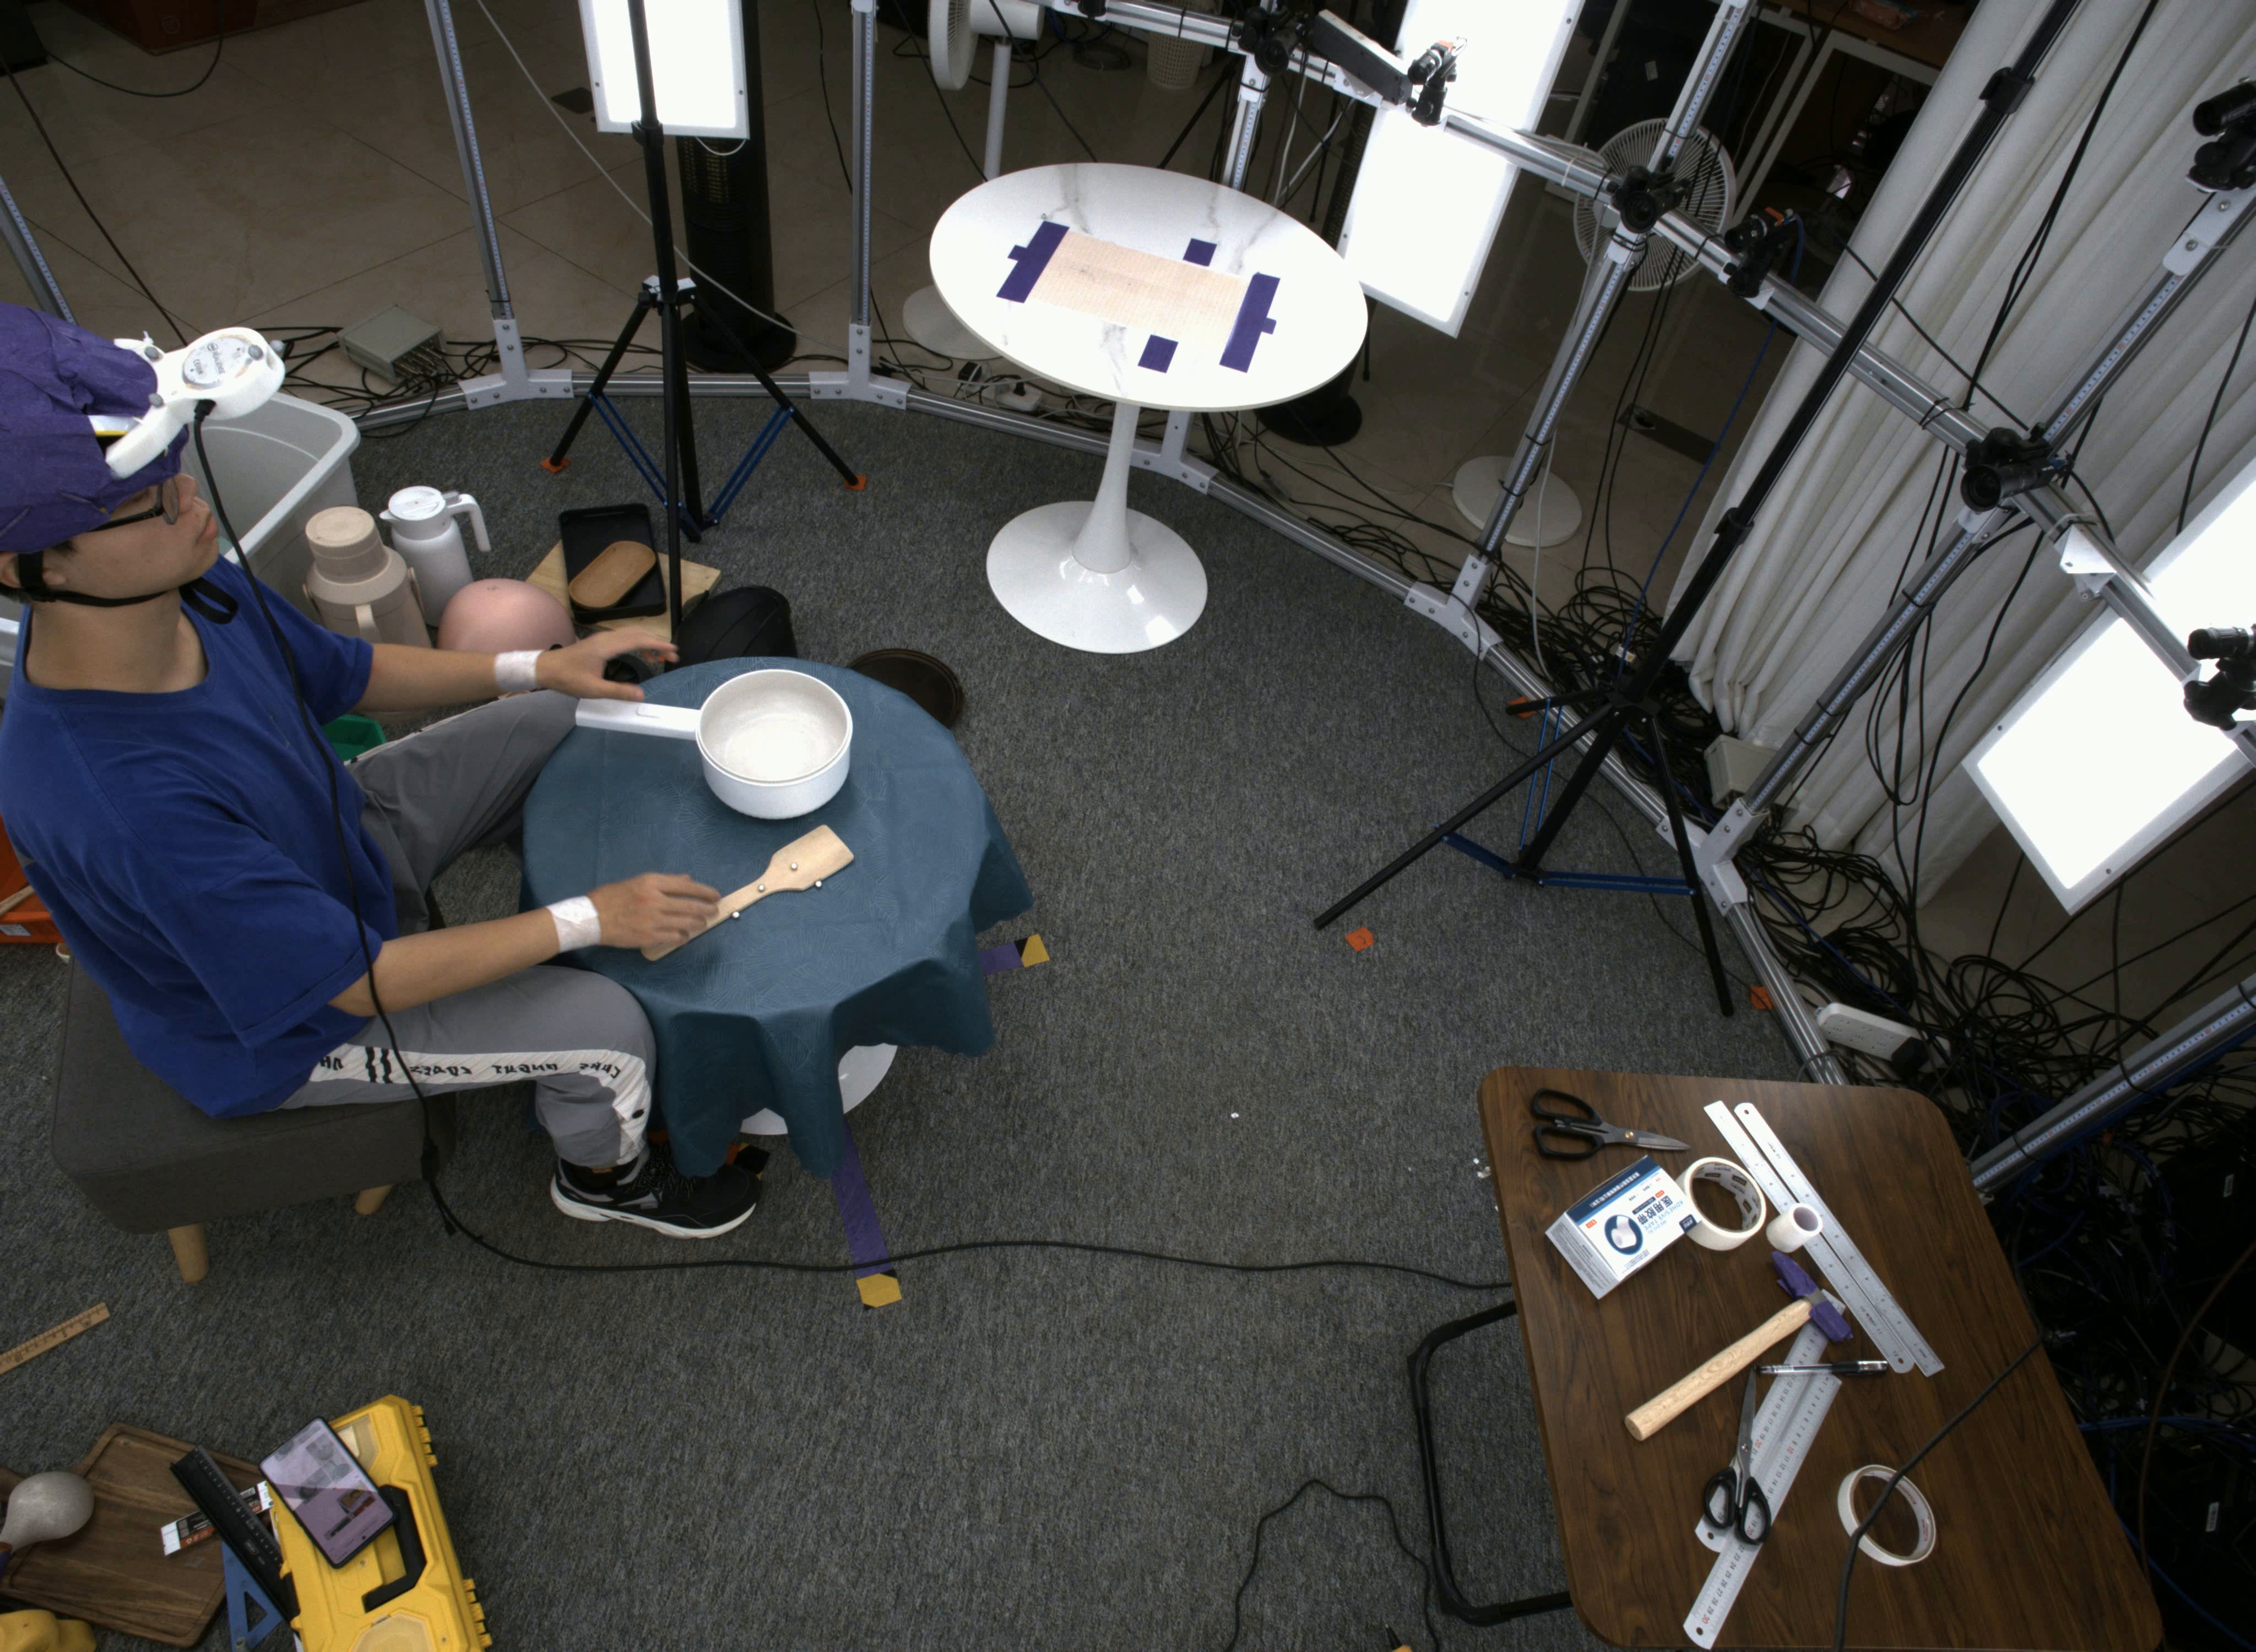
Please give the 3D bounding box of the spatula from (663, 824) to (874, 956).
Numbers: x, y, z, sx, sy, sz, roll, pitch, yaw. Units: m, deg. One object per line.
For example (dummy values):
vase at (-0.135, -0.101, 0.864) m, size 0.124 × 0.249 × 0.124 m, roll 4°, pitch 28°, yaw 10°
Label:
spatula at (-0.461, 0.085, 1.655) m, size 0.294 × 0.011 × 0.071 m, roll -32°, pitch 68°, yaw -31°

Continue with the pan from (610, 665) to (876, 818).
pan at (-0.517, -0.118, 1.736) m, size 0.354 × 0.104 × 0.198 m, roll 8°, pitch 55°, yaw -9°
